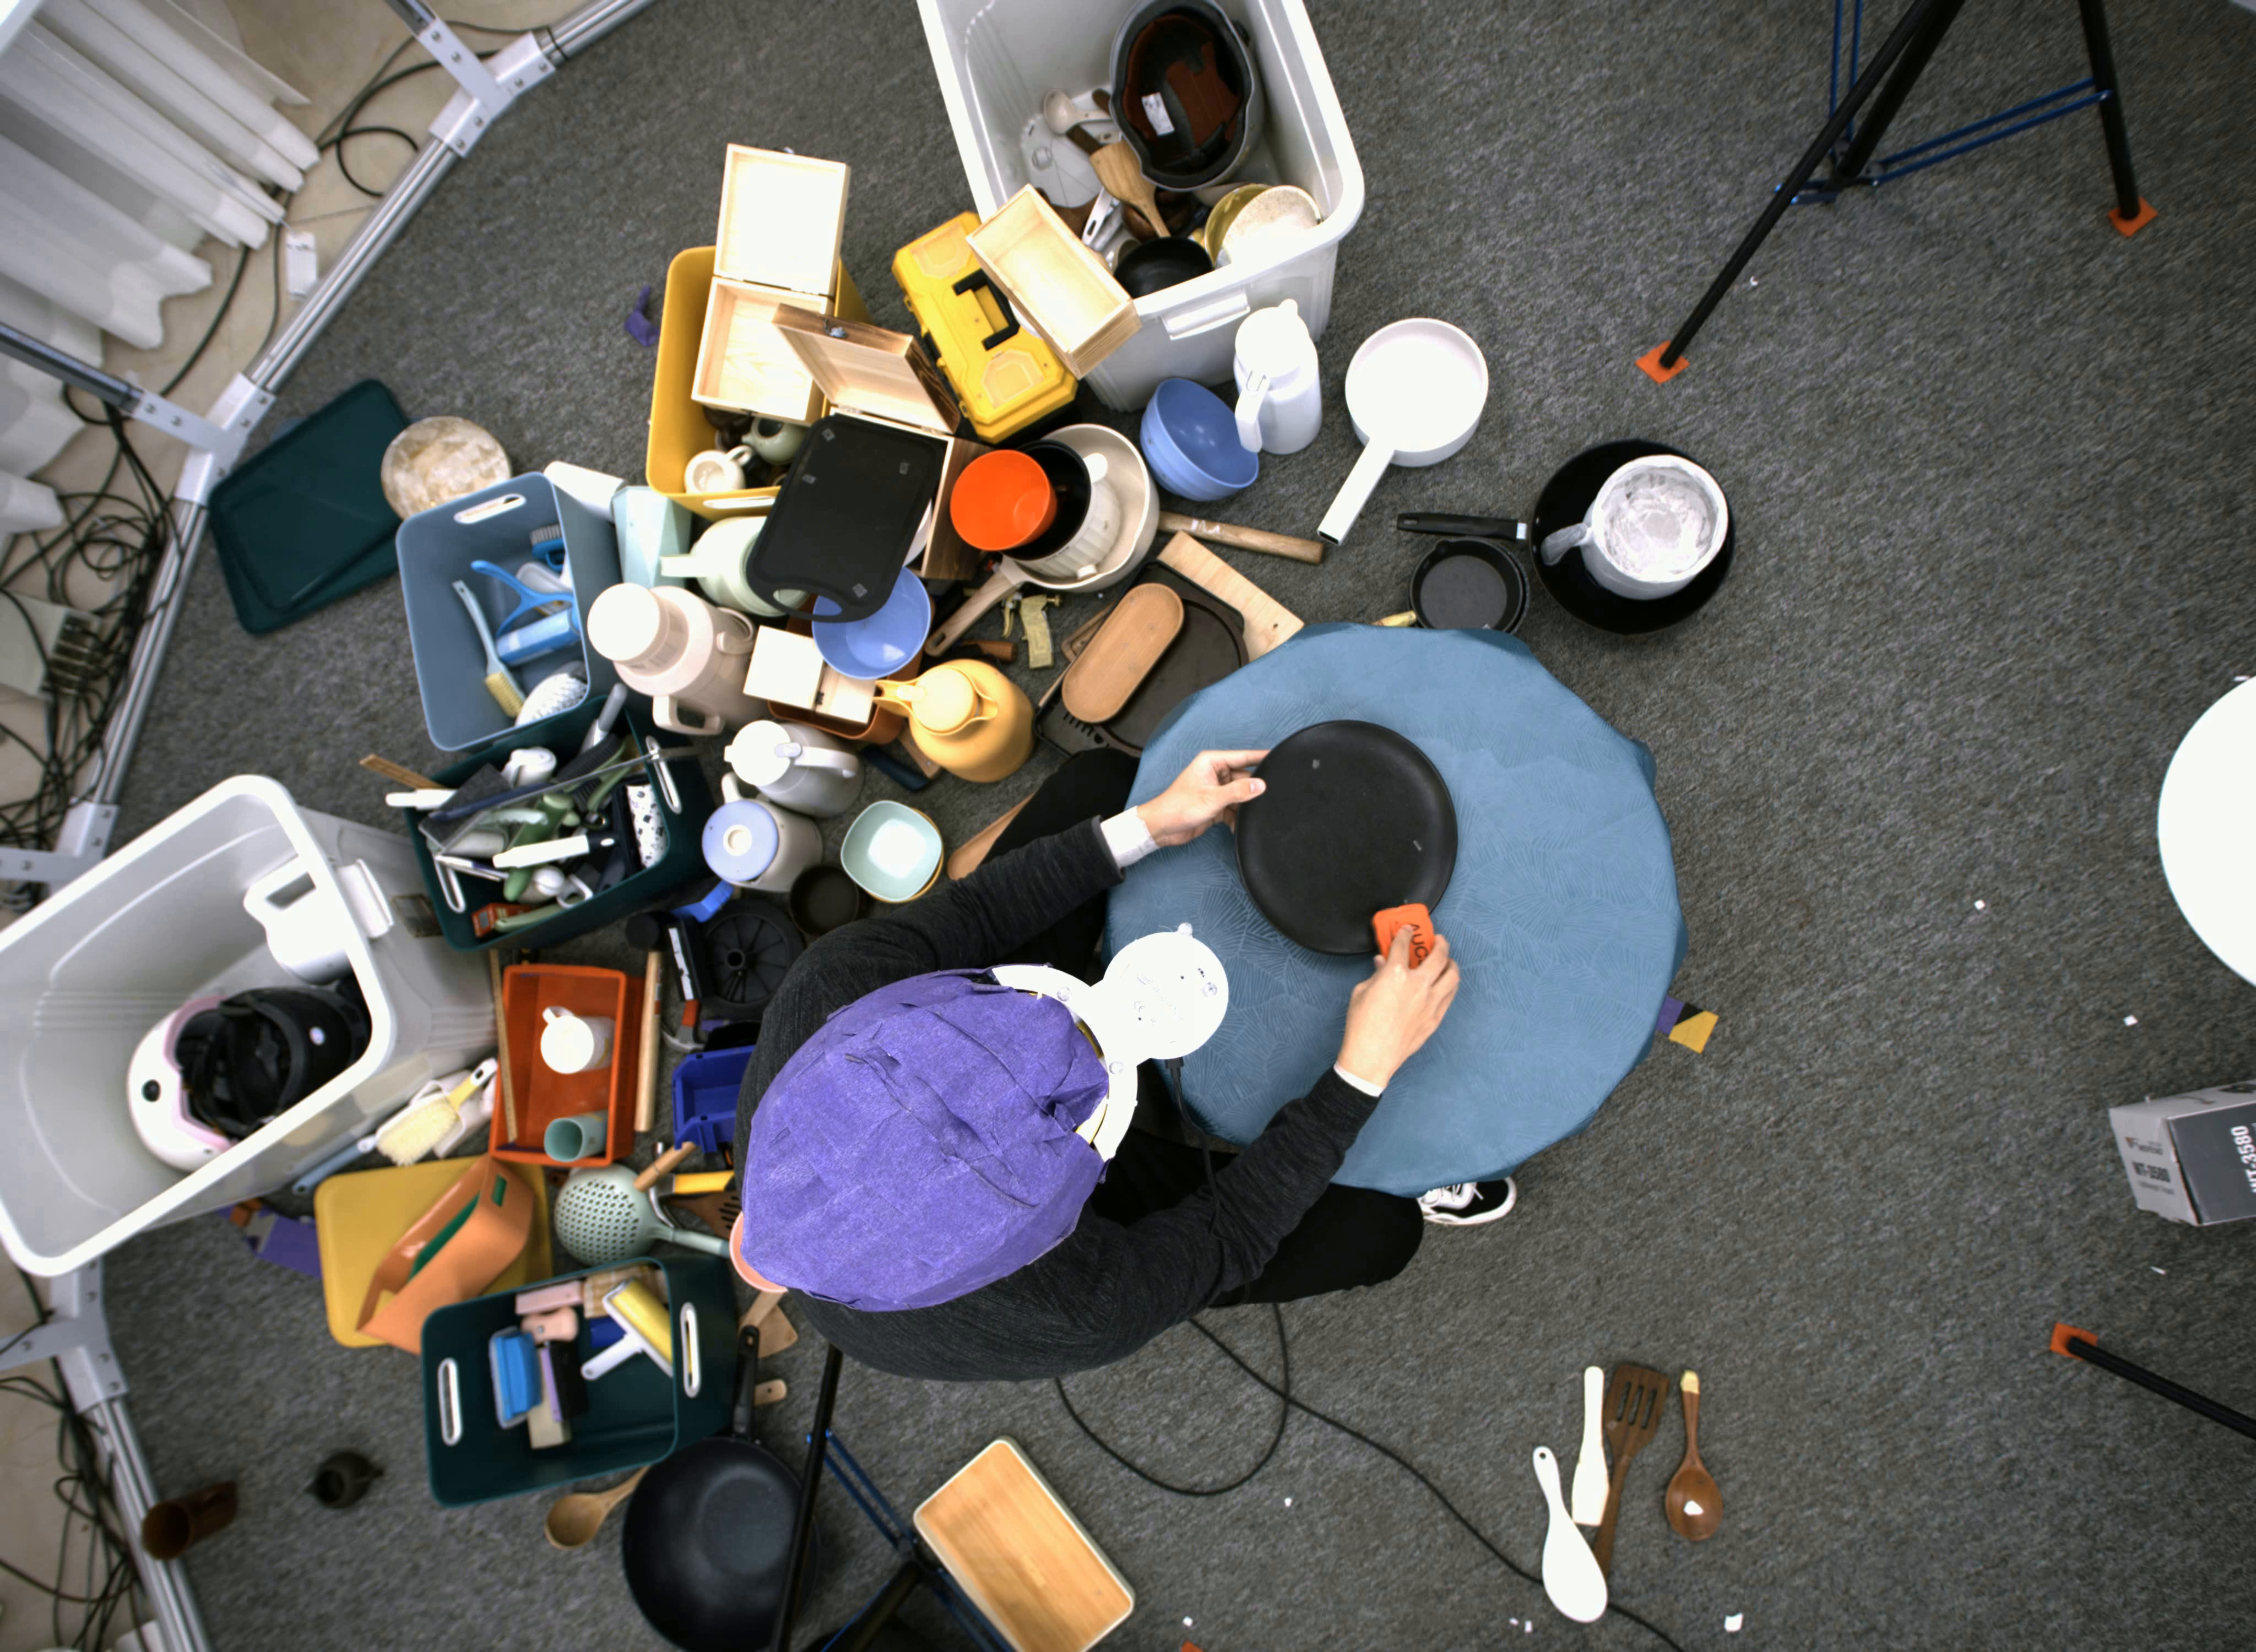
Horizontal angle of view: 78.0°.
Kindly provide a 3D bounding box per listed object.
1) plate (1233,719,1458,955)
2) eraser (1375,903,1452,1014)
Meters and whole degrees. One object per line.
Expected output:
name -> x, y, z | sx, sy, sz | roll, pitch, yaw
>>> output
plate -> 0.224, 0.010, 1.429 | 0.244, 0.023, 0.245 | 0, 93, -10
eraser -> 0.293, 0.134, 1.417 | 0.059, 0.023, 0.106 | -11, 76, 1
